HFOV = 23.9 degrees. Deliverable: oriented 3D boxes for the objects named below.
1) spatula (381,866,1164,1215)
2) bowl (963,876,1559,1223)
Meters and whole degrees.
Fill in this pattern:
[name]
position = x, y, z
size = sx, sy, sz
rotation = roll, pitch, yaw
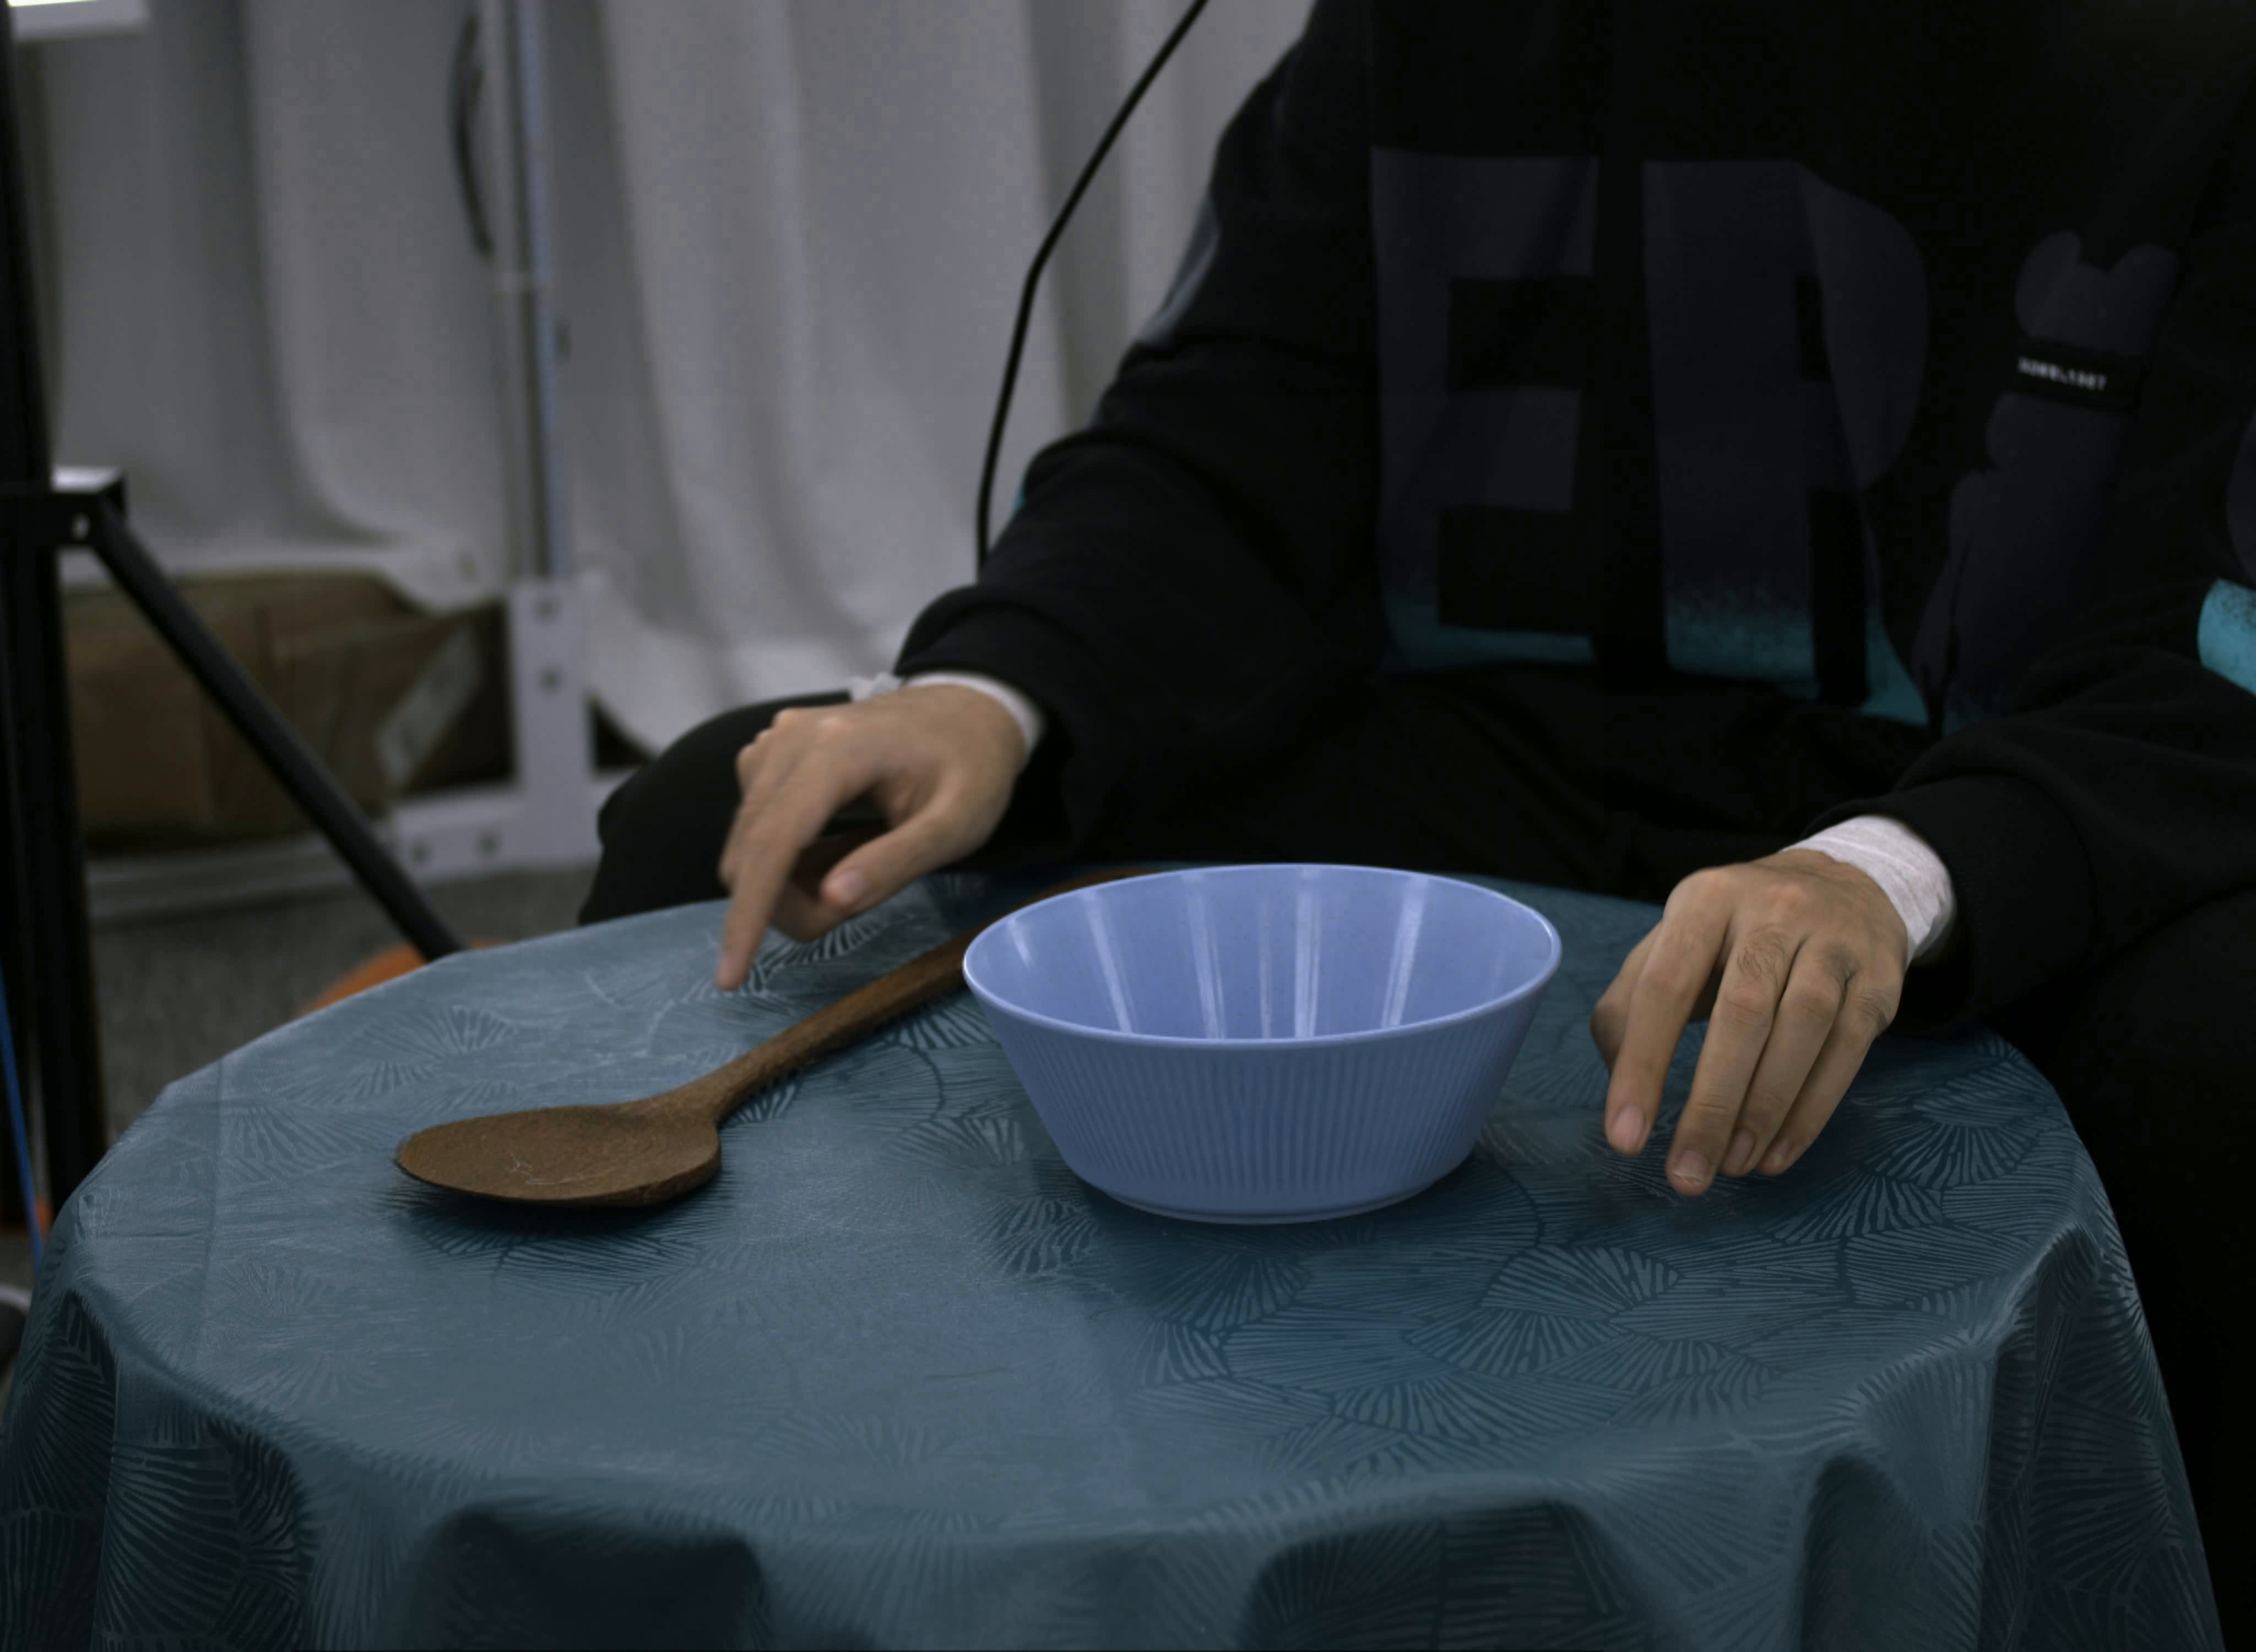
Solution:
[spatula]
position = -0.092, 0.063, 1.707
size = 0.098, 0.016, 0.379
rotation = 8, 19, 31
[bowl]
position = 0.039, 0.068, 1.566
size = 0.175, 0.070, 0.177
rotation = -2, 15, -1
